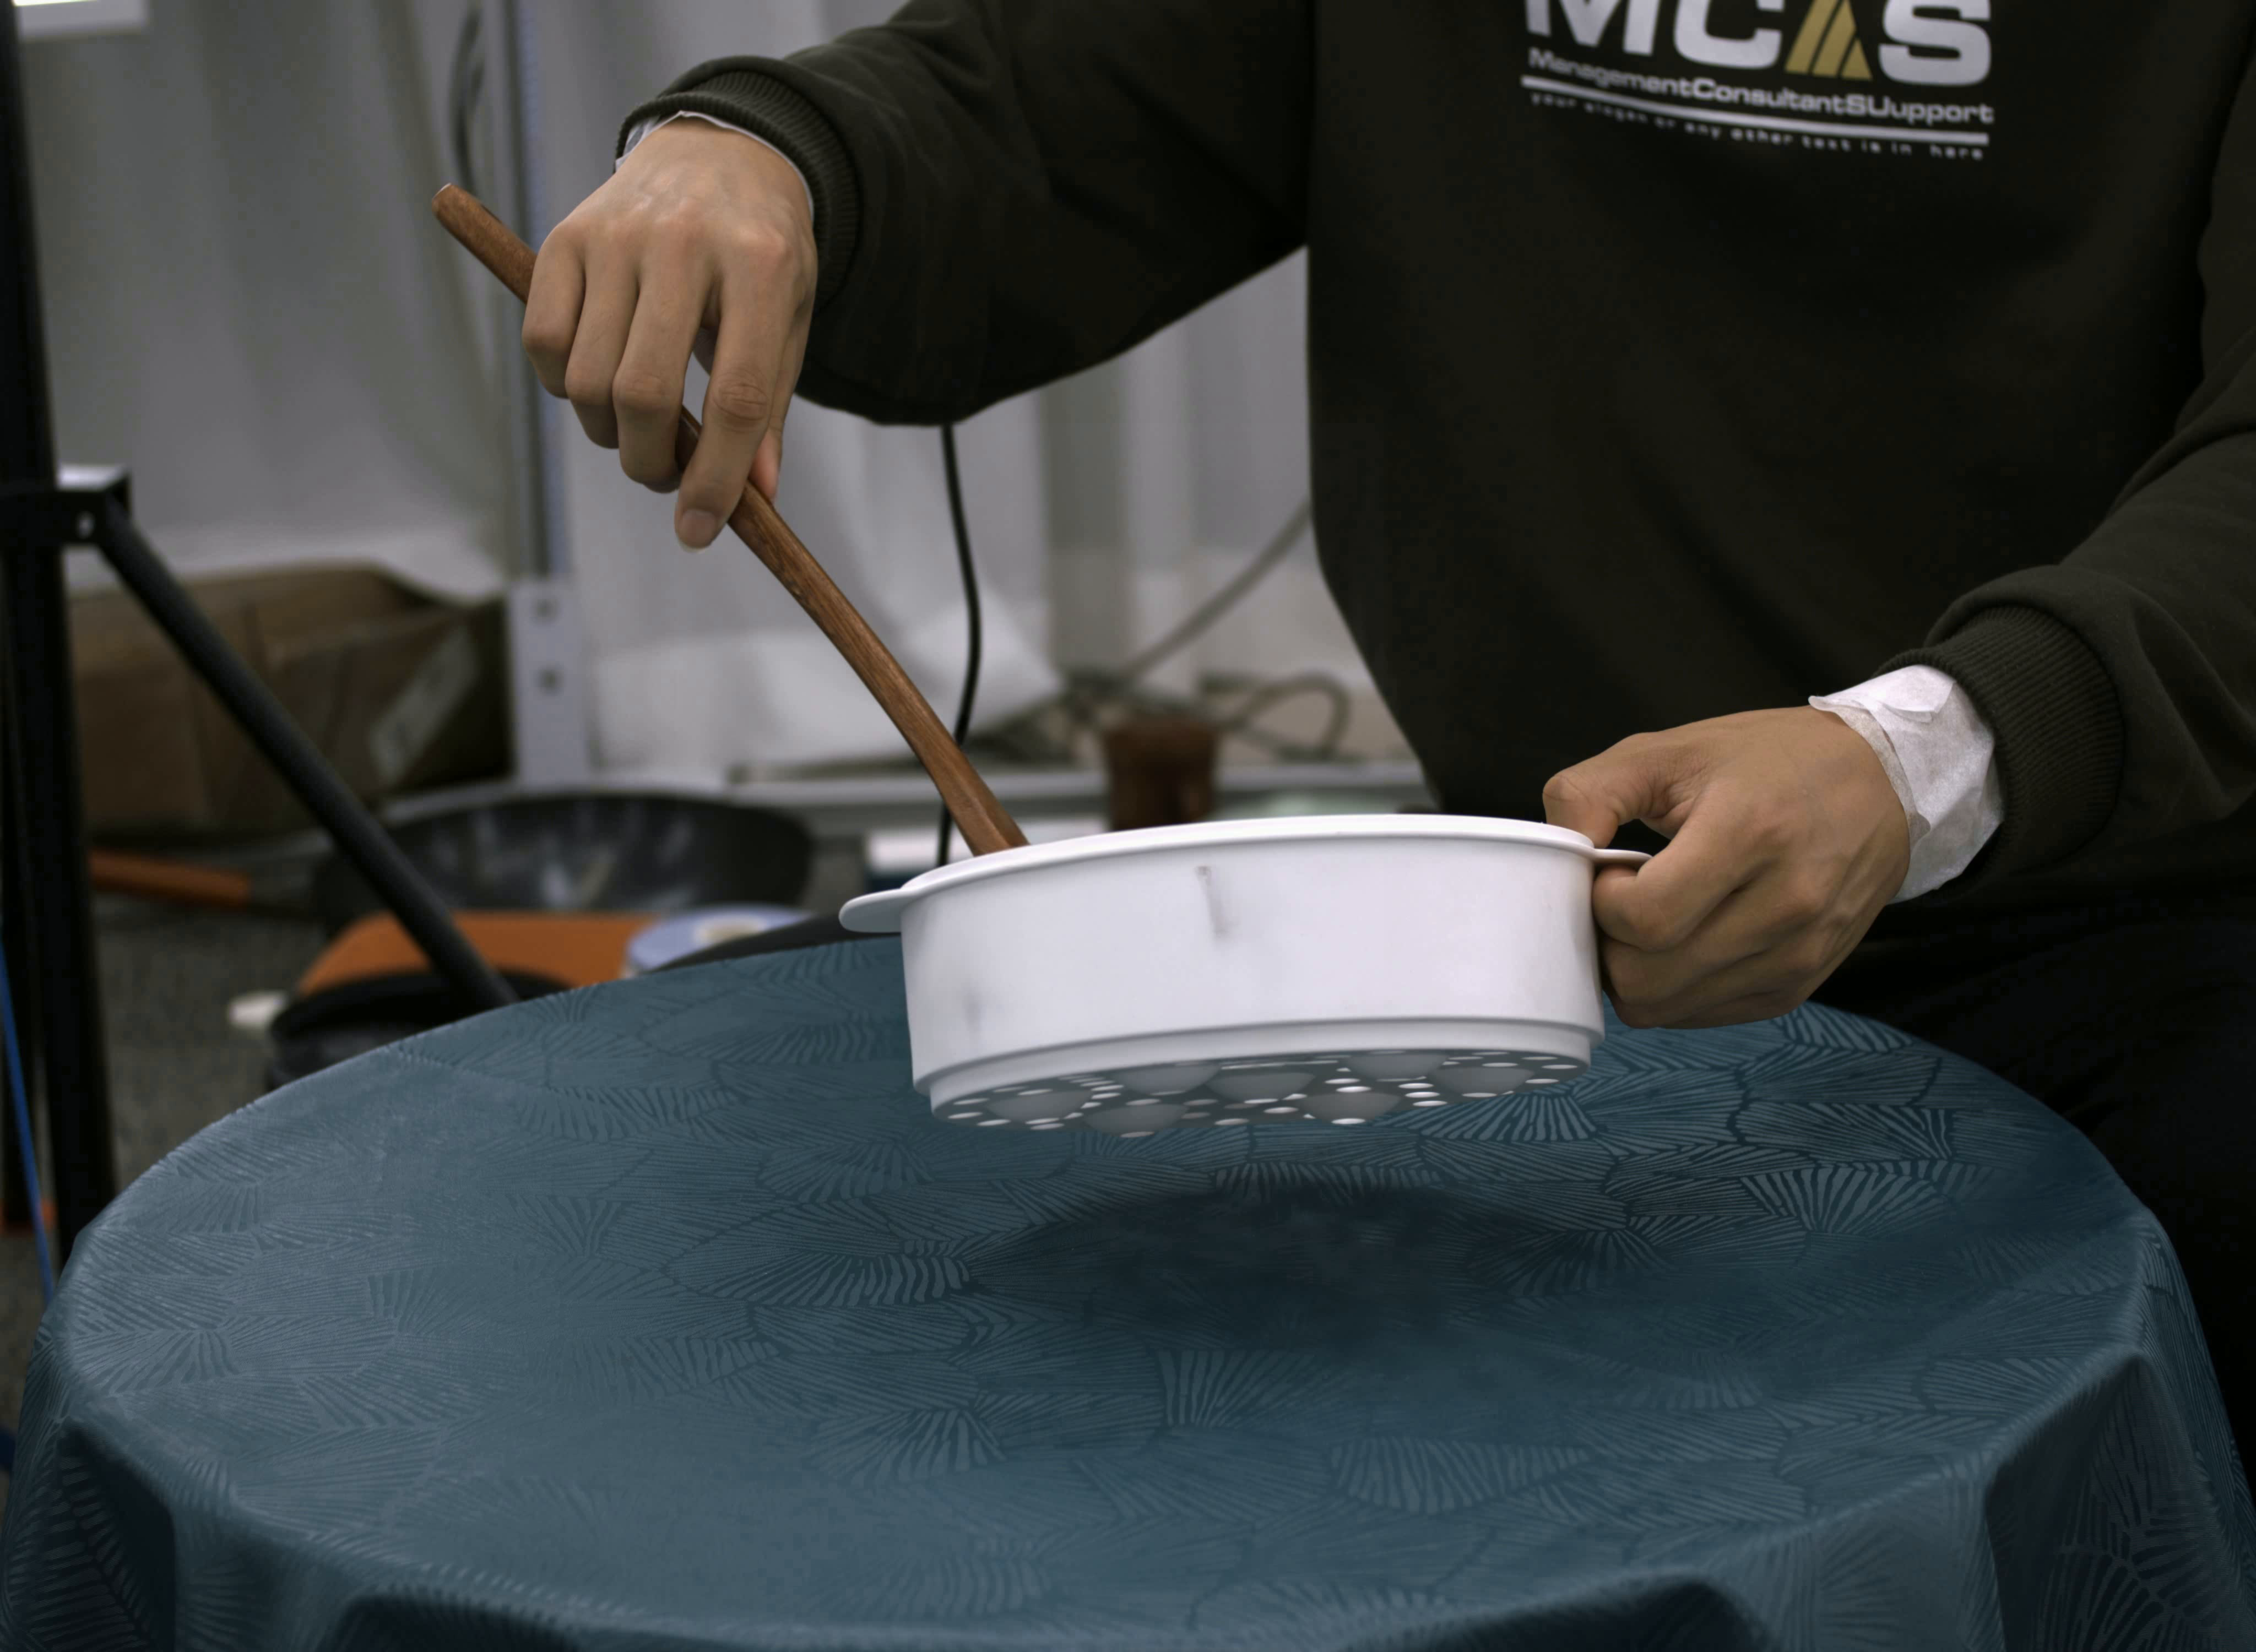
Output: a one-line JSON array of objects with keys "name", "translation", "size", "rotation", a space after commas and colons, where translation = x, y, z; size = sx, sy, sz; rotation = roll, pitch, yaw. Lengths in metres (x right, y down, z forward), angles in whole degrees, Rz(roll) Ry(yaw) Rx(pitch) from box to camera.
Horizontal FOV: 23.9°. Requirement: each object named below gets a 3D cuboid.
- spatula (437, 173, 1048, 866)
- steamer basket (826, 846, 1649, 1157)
[{"name": "spatula", "translation": [-0.089, -0.060, 1.576], "size": [0.391, 0.024, 0.084], "rotation": [49, 4, 21]}, {"name": "steamer basket", "translation": [0.030, 0.053, 1.482], "size": [0.229, 0.070, 0.202], "rotation": [3, -9, -3]}]
